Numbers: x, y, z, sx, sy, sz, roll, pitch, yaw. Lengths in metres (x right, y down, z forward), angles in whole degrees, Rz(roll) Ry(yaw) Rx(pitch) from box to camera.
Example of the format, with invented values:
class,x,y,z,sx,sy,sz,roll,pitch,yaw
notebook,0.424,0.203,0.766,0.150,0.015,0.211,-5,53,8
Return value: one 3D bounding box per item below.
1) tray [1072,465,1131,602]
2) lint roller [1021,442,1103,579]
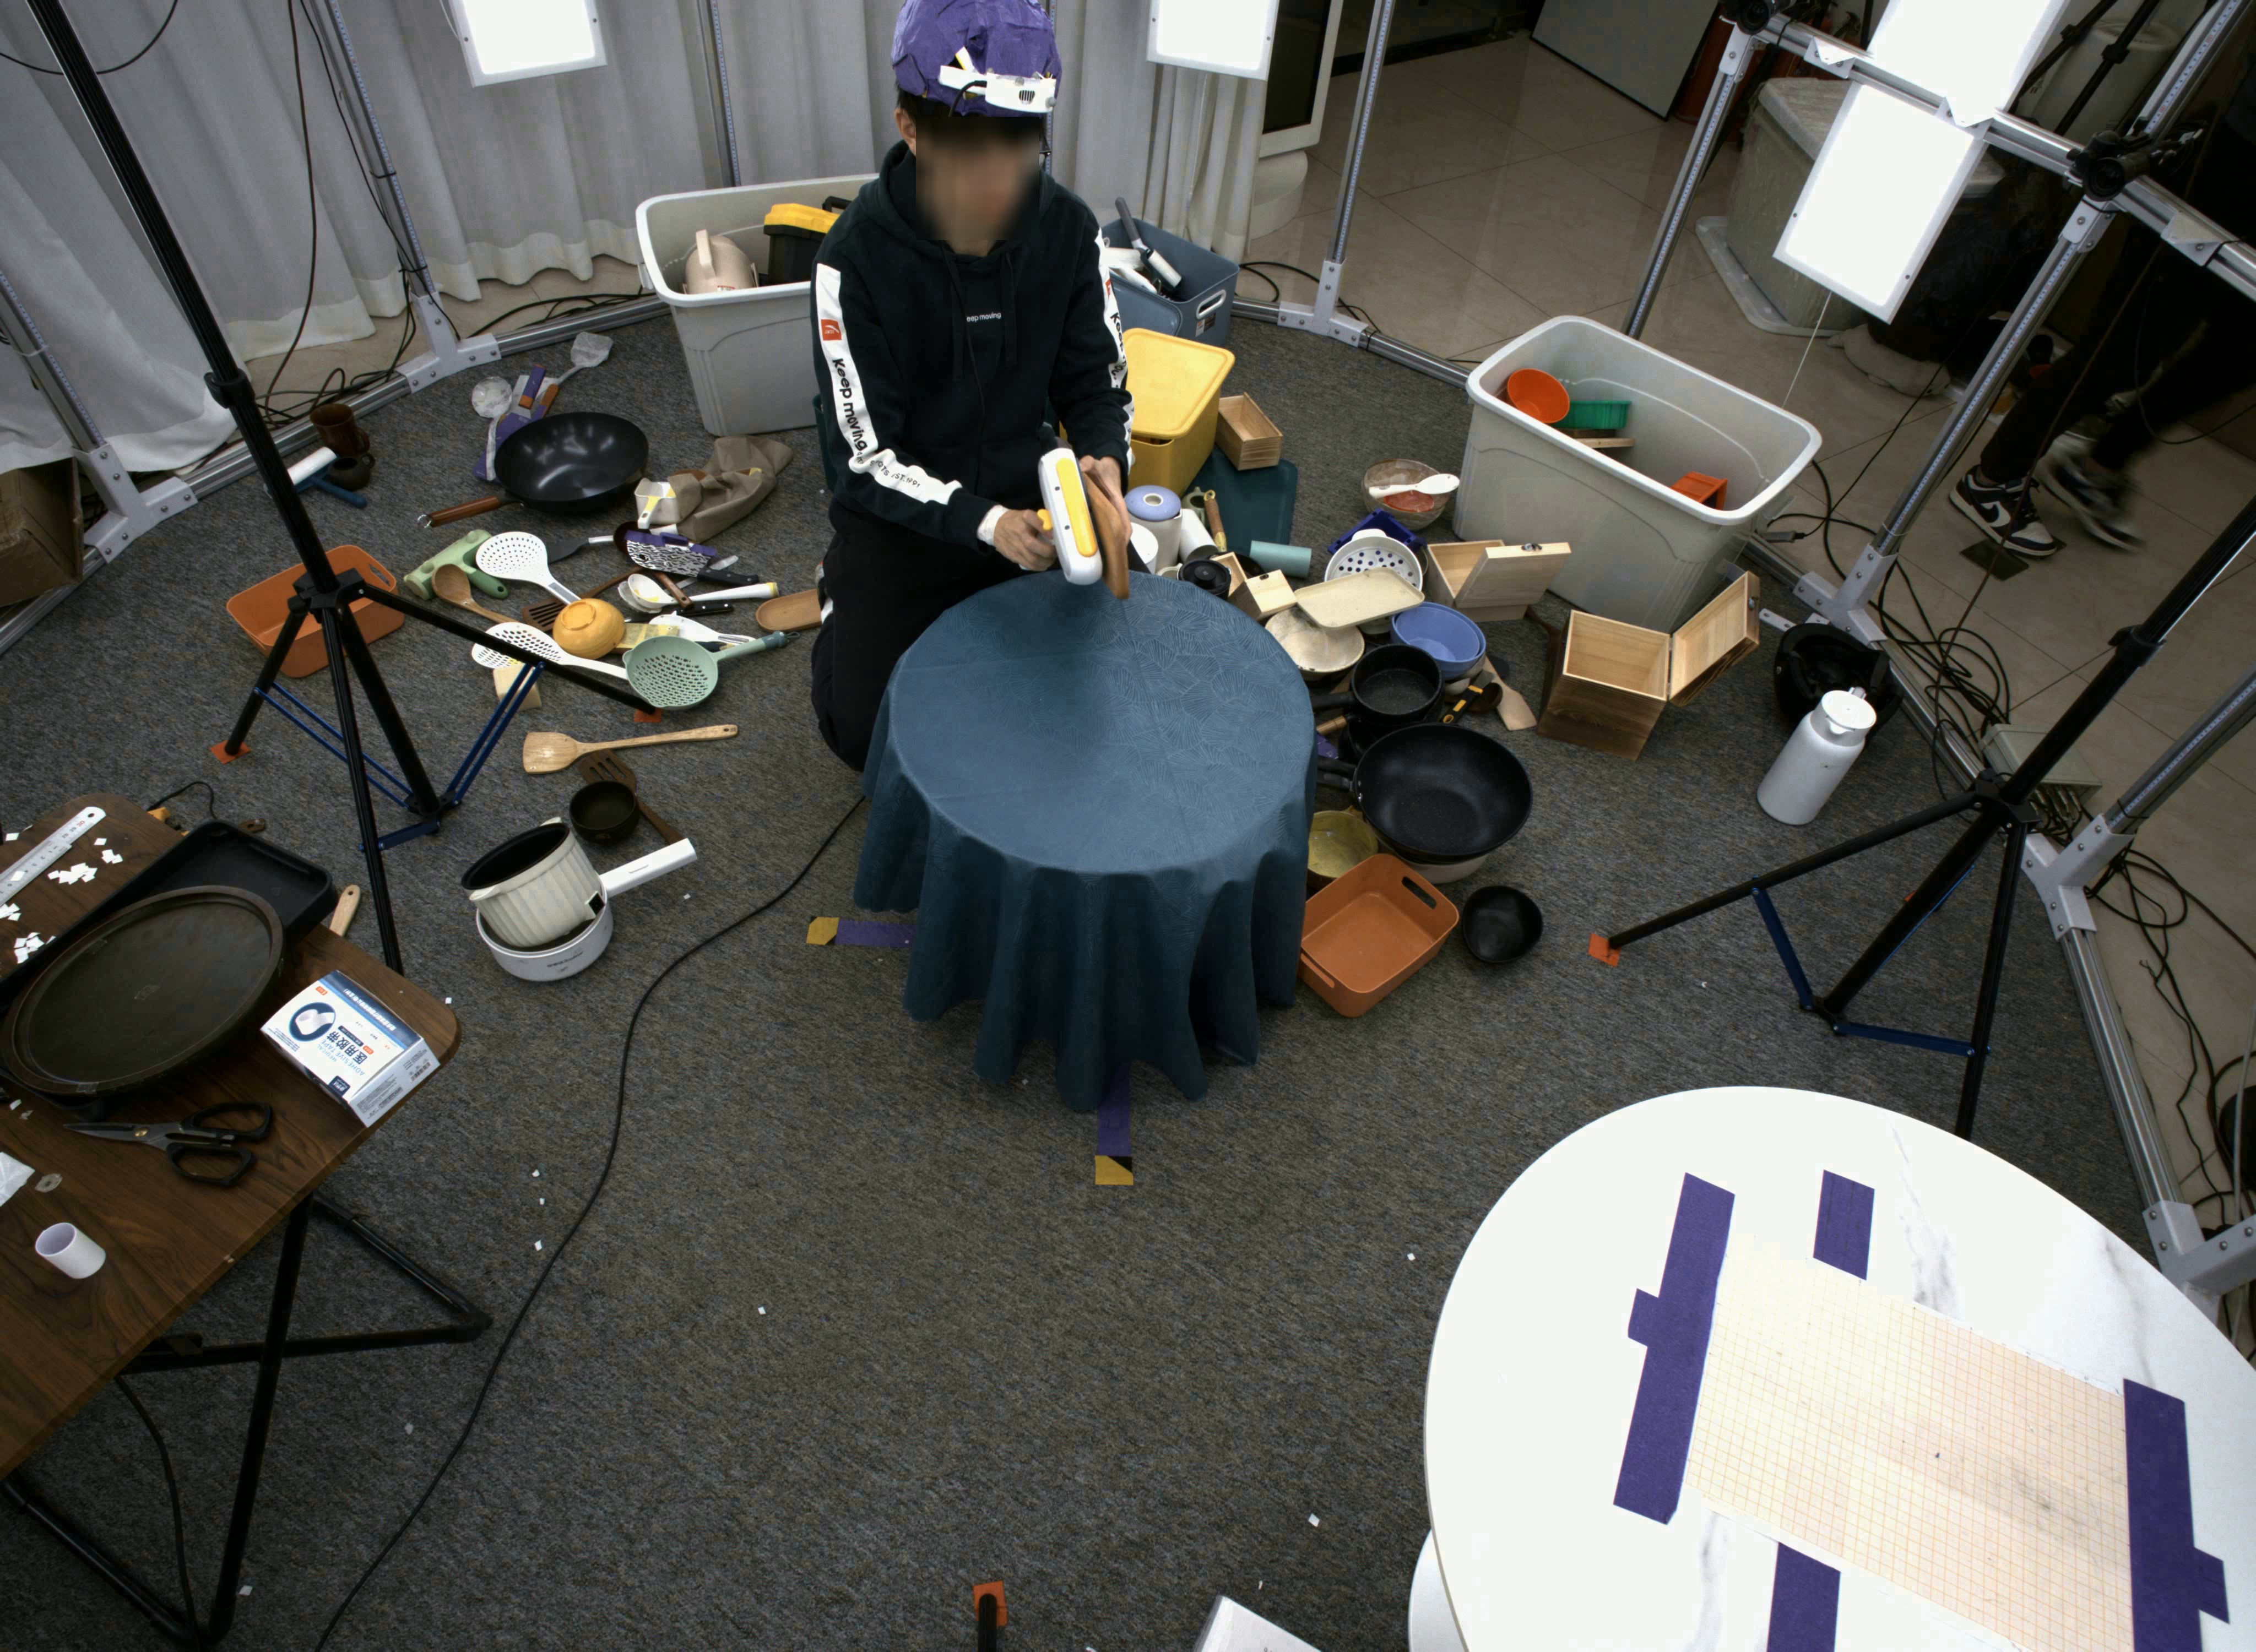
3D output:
class,x,y,z,sx,sy,sz,roll,pitch,yaw
tray,-0.043,-0.411,1.801,0.023,0.128,0.256,-12,33,-13
lint roller,-0.105,-0.416,1.825,0.074,0.190,0.195,-17,79,-20
